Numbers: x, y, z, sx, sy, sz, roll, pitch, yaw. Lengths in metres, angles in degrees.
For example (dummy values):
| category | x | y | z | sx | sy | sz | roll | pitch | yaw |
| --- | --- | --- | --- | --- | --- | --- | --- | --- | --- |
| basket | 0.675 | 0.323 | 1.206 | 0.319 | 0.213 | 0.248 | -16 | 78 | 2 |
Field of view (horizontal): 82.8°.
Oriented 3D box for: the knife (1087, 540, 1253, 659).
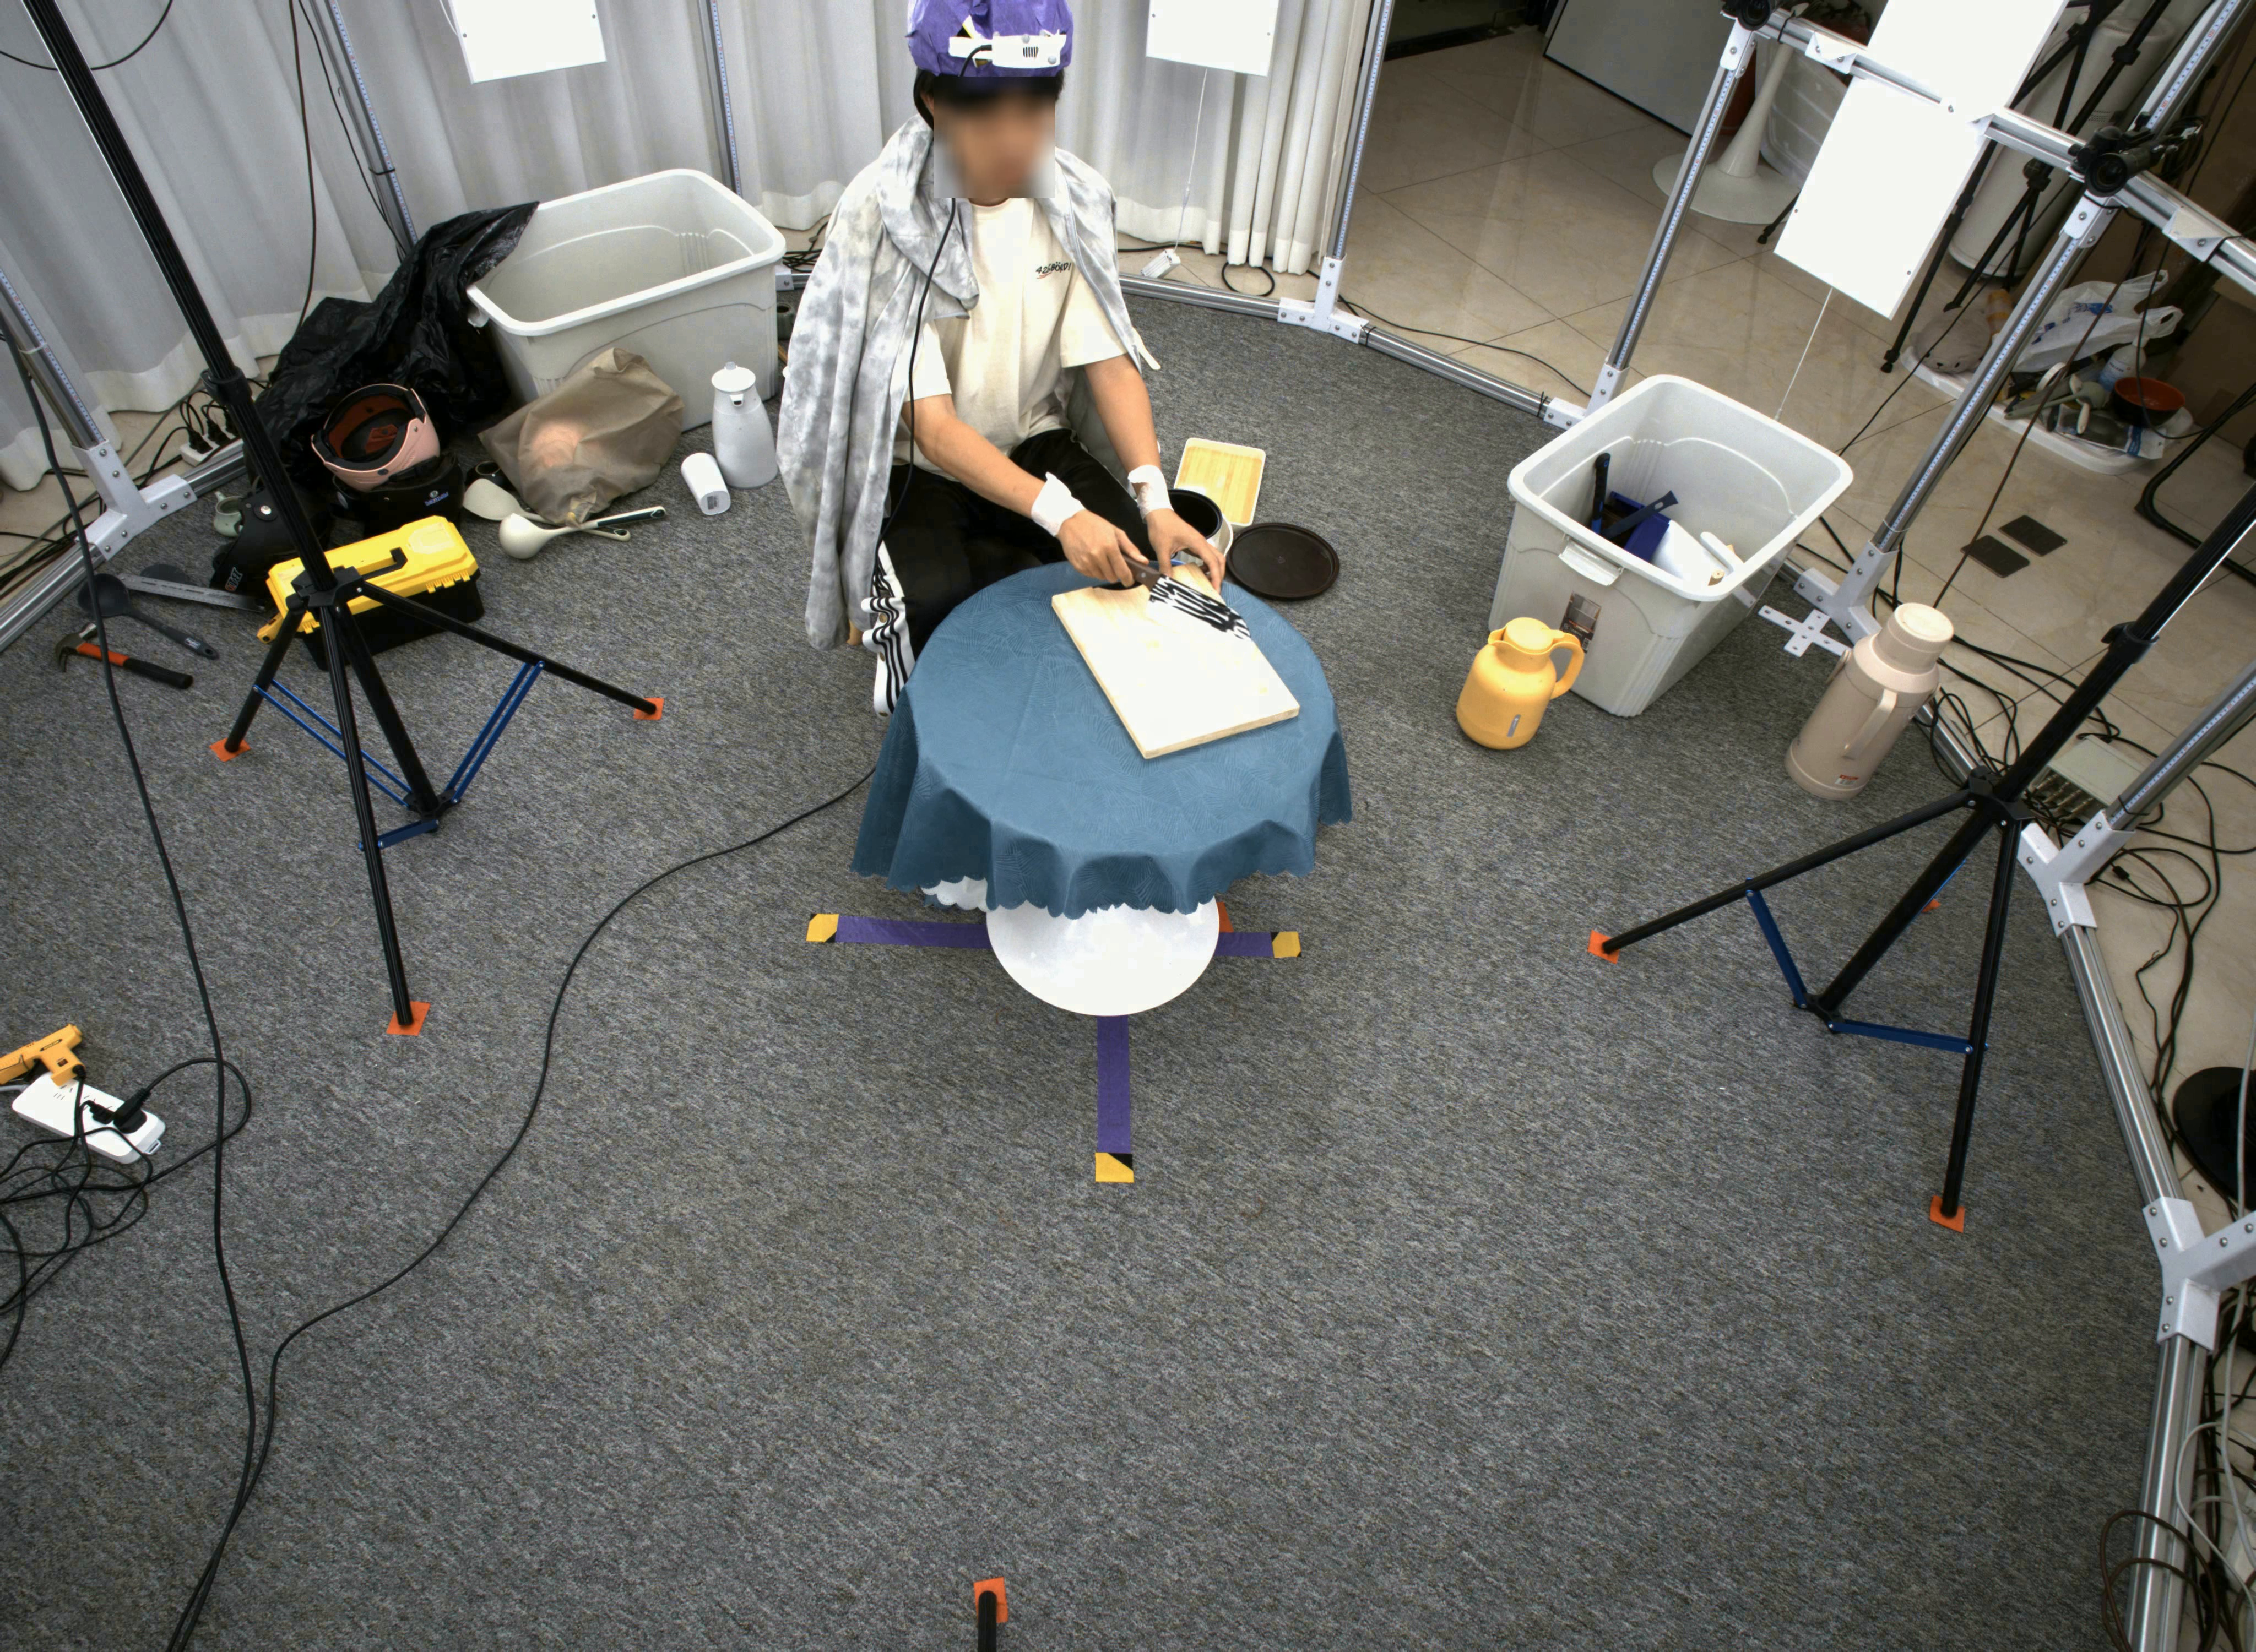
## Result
| category | x | y | z | sx | sy | sz | roll | pitch | yaw |
| --- | --- | --- | --- | --- | --- | --- | --- | --- | --- |
| knife | 0.059 | -0.333 | 1.888 | 0.302 | 0.067 | 0.024 | 30 | 19 | 15 |

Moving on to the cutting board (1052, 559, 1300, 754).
| category | x | y | z | sx | sy | sz | roll | pitch | yaw |
| --- | --- | --- | --- | --- | --- | --- | --- | --- | --- |
| cutting board | 0.063 | -0.255 | 1.876 | 0.251 | 0.023 | 0.356 | -17 | 52 | -18 |
